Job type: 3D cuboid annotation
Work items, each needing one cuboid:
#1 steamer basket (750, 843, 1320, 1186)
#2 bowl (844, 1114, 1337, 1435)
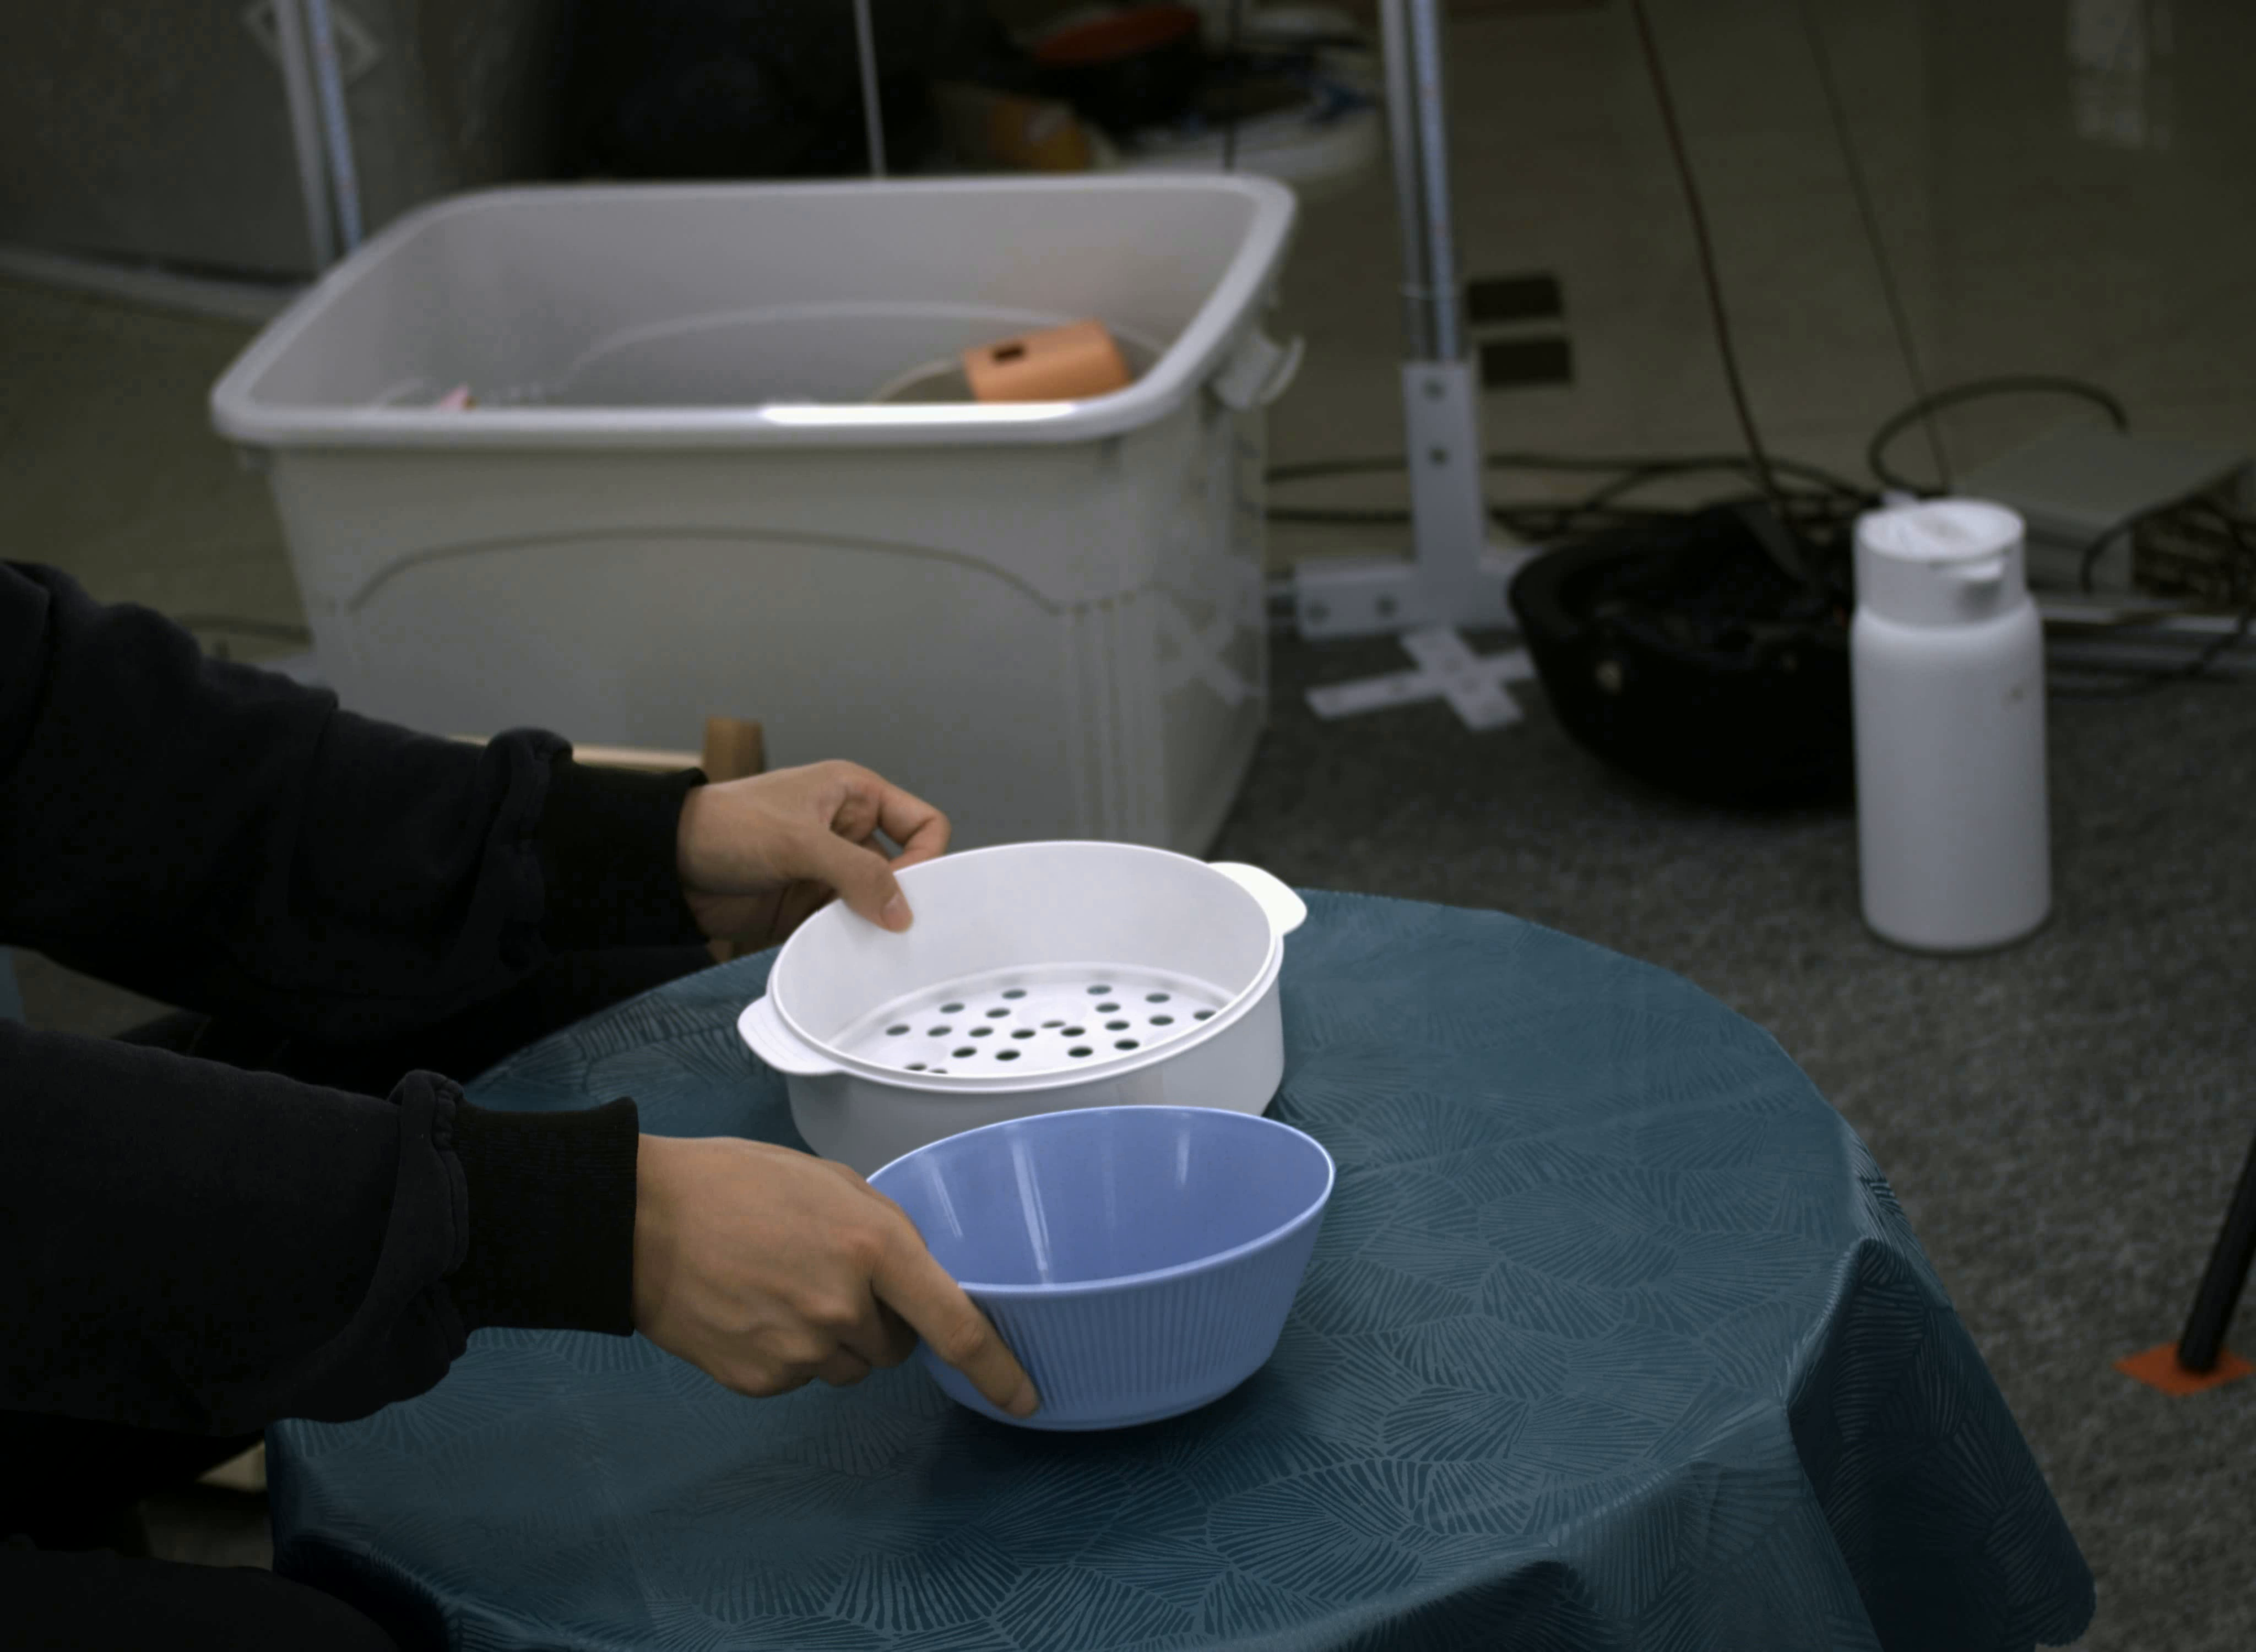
[{"bbox_3d":[-0.033,0.078,2.207,0.229,0.070,0.199,-15,28,-22],"label":"steamer basket"},{"bbox_3d":[-0.010,0.162,2.005,0.176,0.071,0.174,-6,17,2],"label":"bowl"}]
